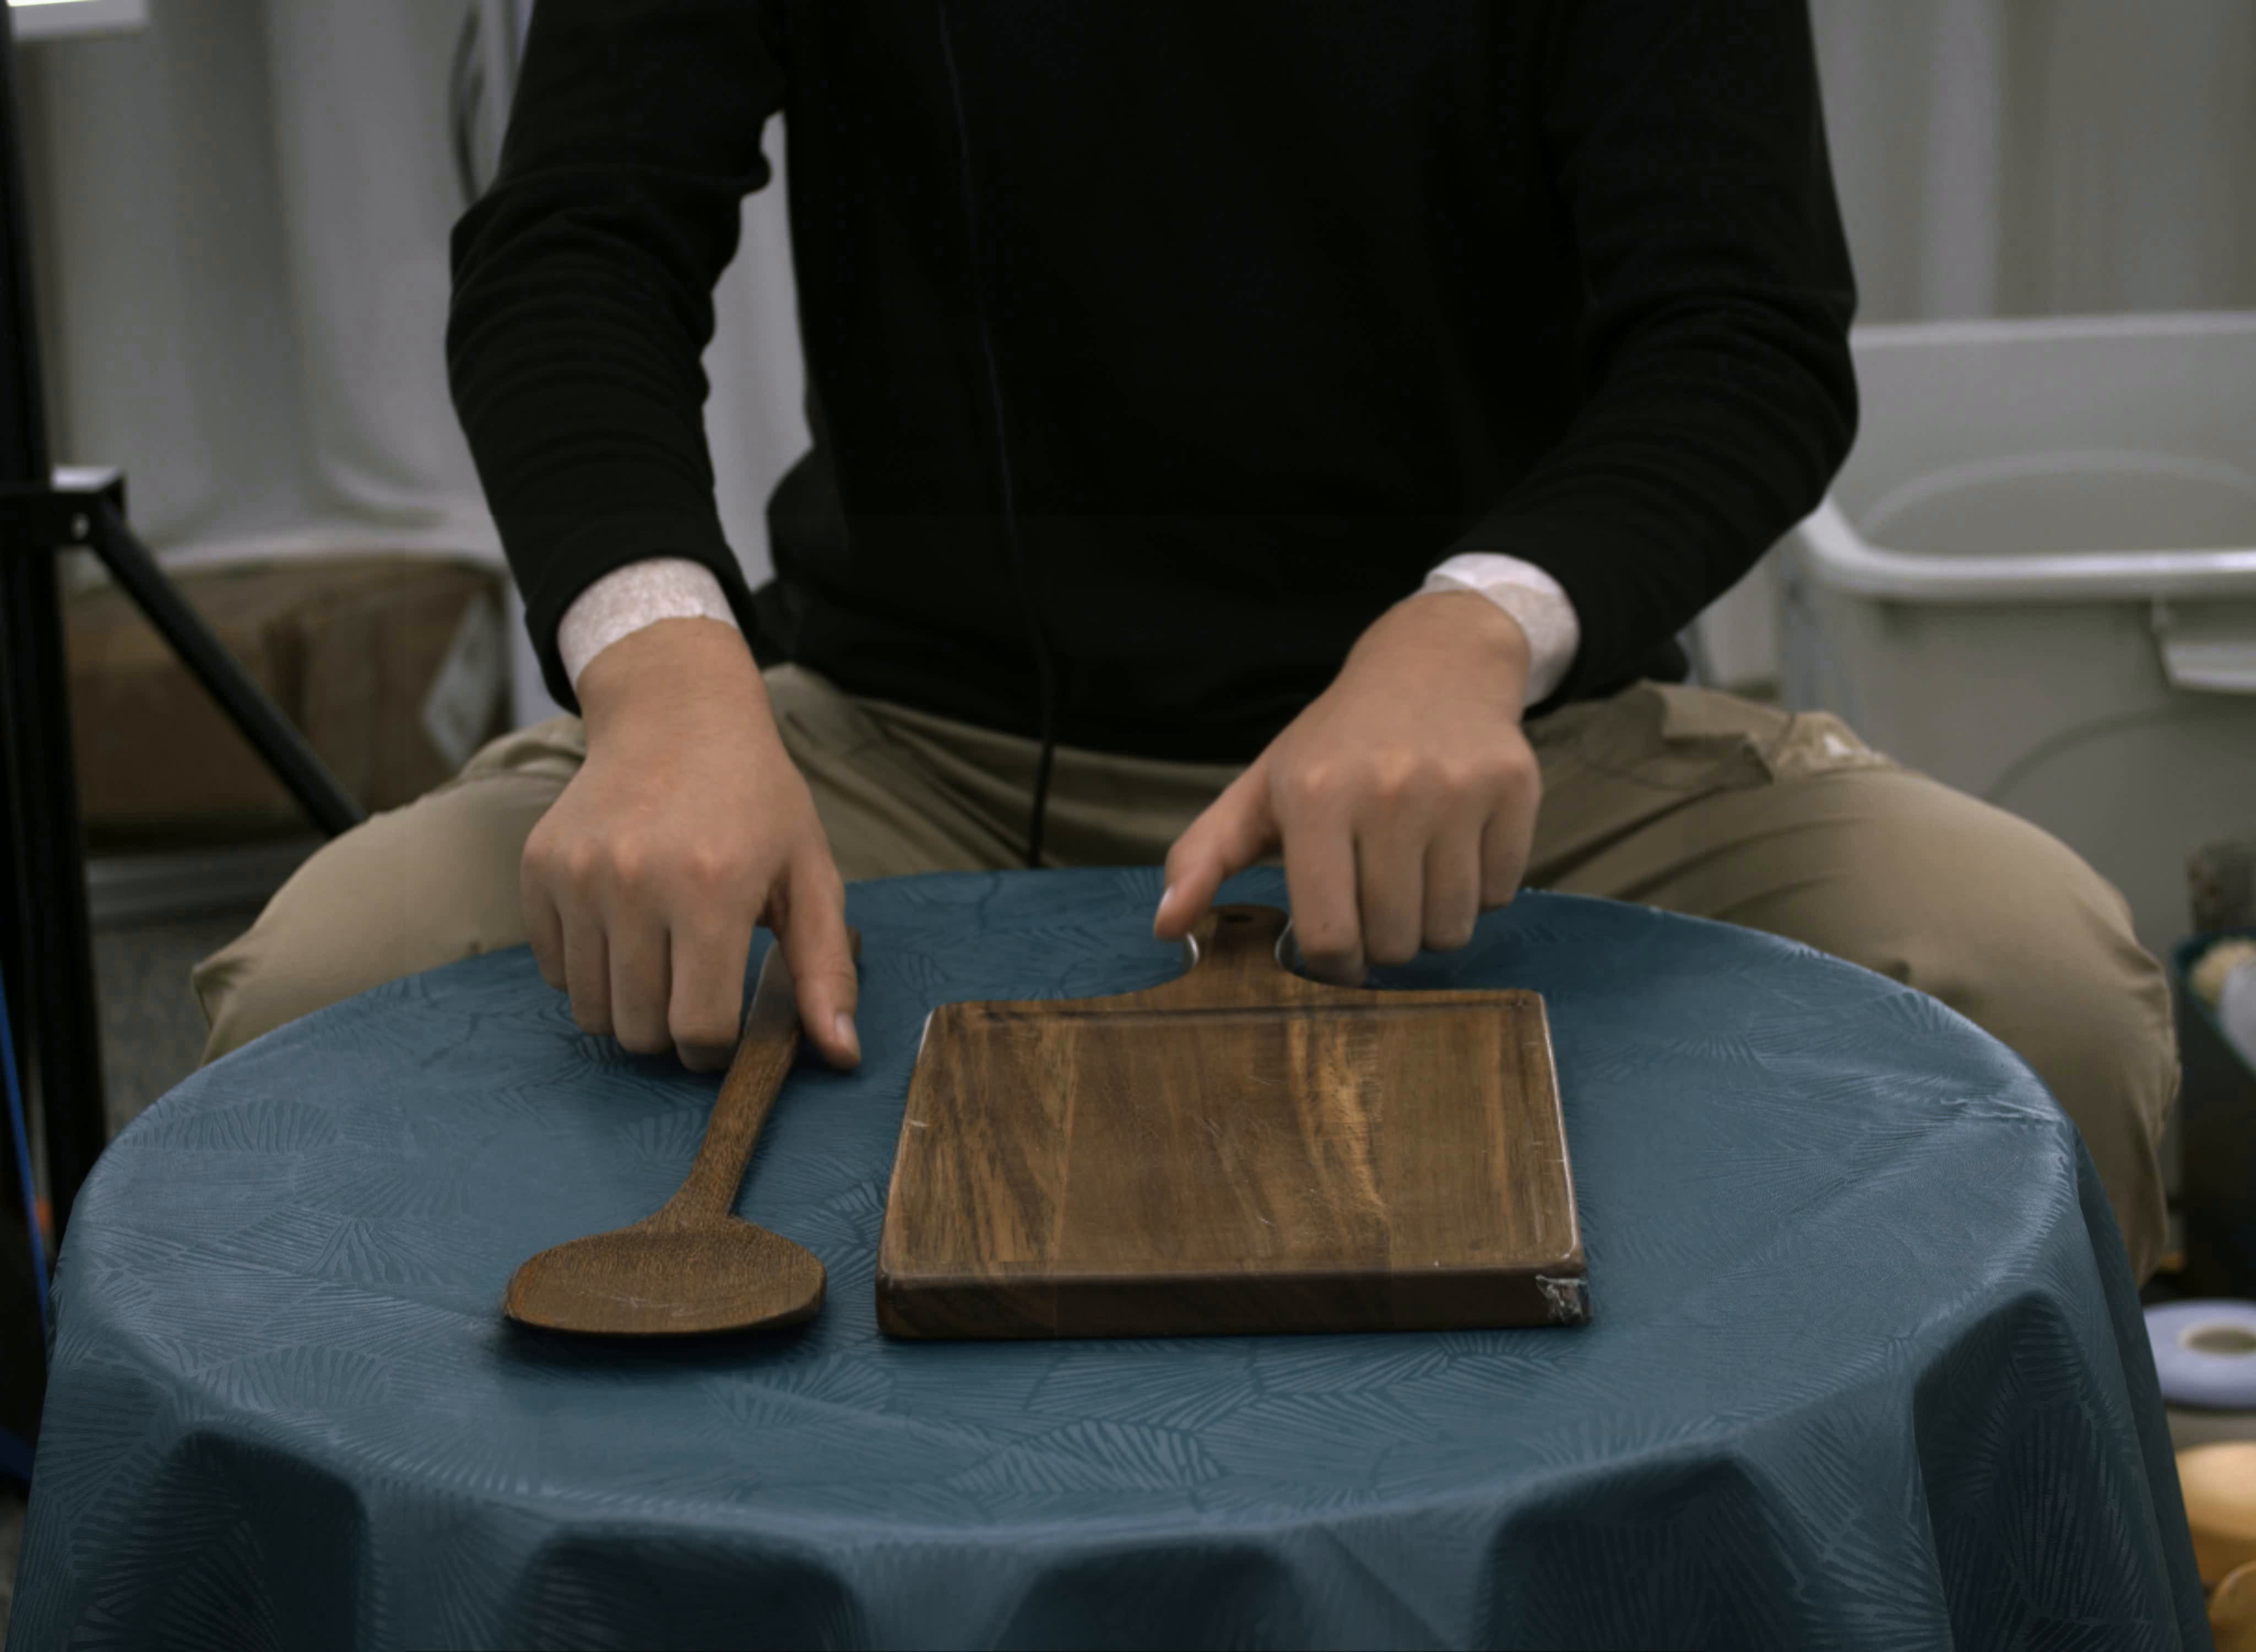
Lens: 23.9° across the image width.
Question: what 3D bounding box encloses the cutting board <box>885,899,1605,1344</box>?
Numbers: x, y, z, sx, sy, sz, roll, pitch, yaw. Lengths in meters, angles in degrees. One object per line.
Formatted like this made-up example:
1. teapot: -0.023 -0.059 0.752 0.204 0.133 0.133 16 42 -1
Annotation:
1. cutting board: 0.033 0.082 1.605 0.200 0.023 0.353 -2 16 2

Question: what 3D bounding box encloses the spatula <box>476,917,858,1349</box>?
1. spatula: -0.119 0.086 1.620 0.096 0.016 0.386 -1 17 5
